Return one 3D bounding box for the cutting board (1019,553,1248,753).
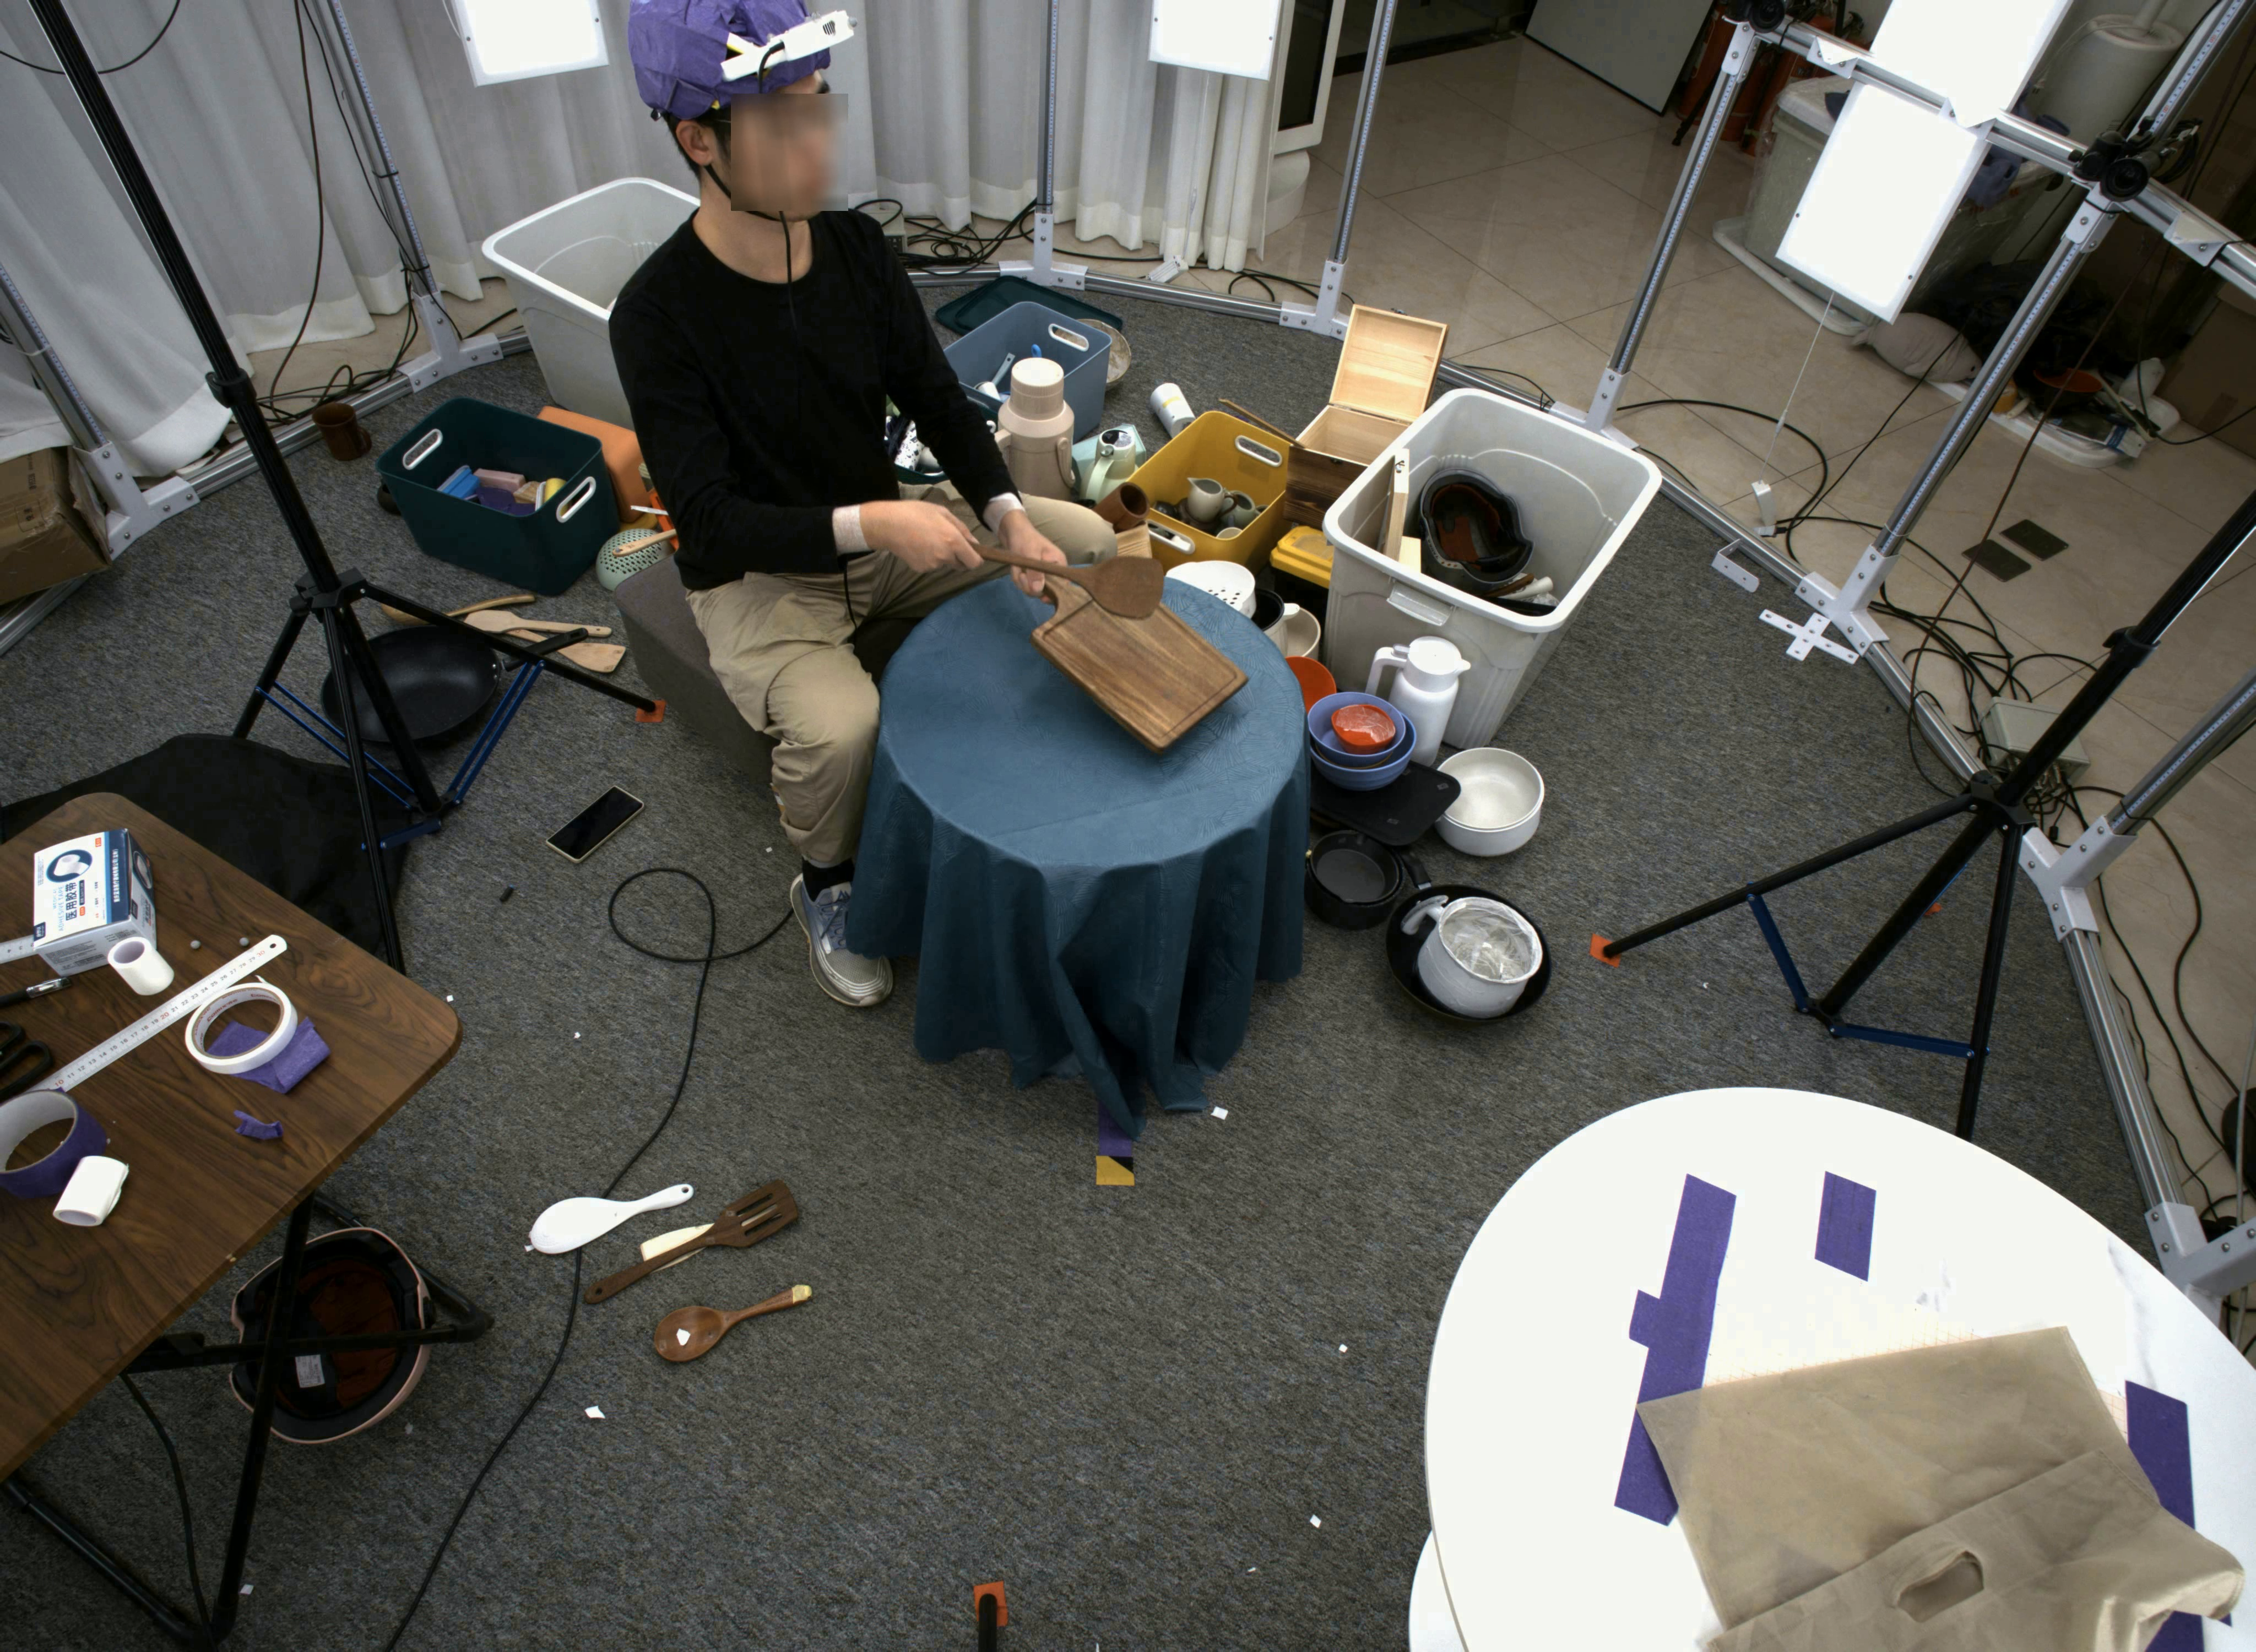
[{"bbox_3d":[-0.019,-0.268,1.801,0.355,0.023,0.203,42,58,14],"label":"cutting board"}]

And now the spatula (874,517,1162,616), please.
[{"bbox_3d":[-0.145,-0.354,1.702,0.385,0.015,0.098,13,68,-1],"label":"spatula"}]
